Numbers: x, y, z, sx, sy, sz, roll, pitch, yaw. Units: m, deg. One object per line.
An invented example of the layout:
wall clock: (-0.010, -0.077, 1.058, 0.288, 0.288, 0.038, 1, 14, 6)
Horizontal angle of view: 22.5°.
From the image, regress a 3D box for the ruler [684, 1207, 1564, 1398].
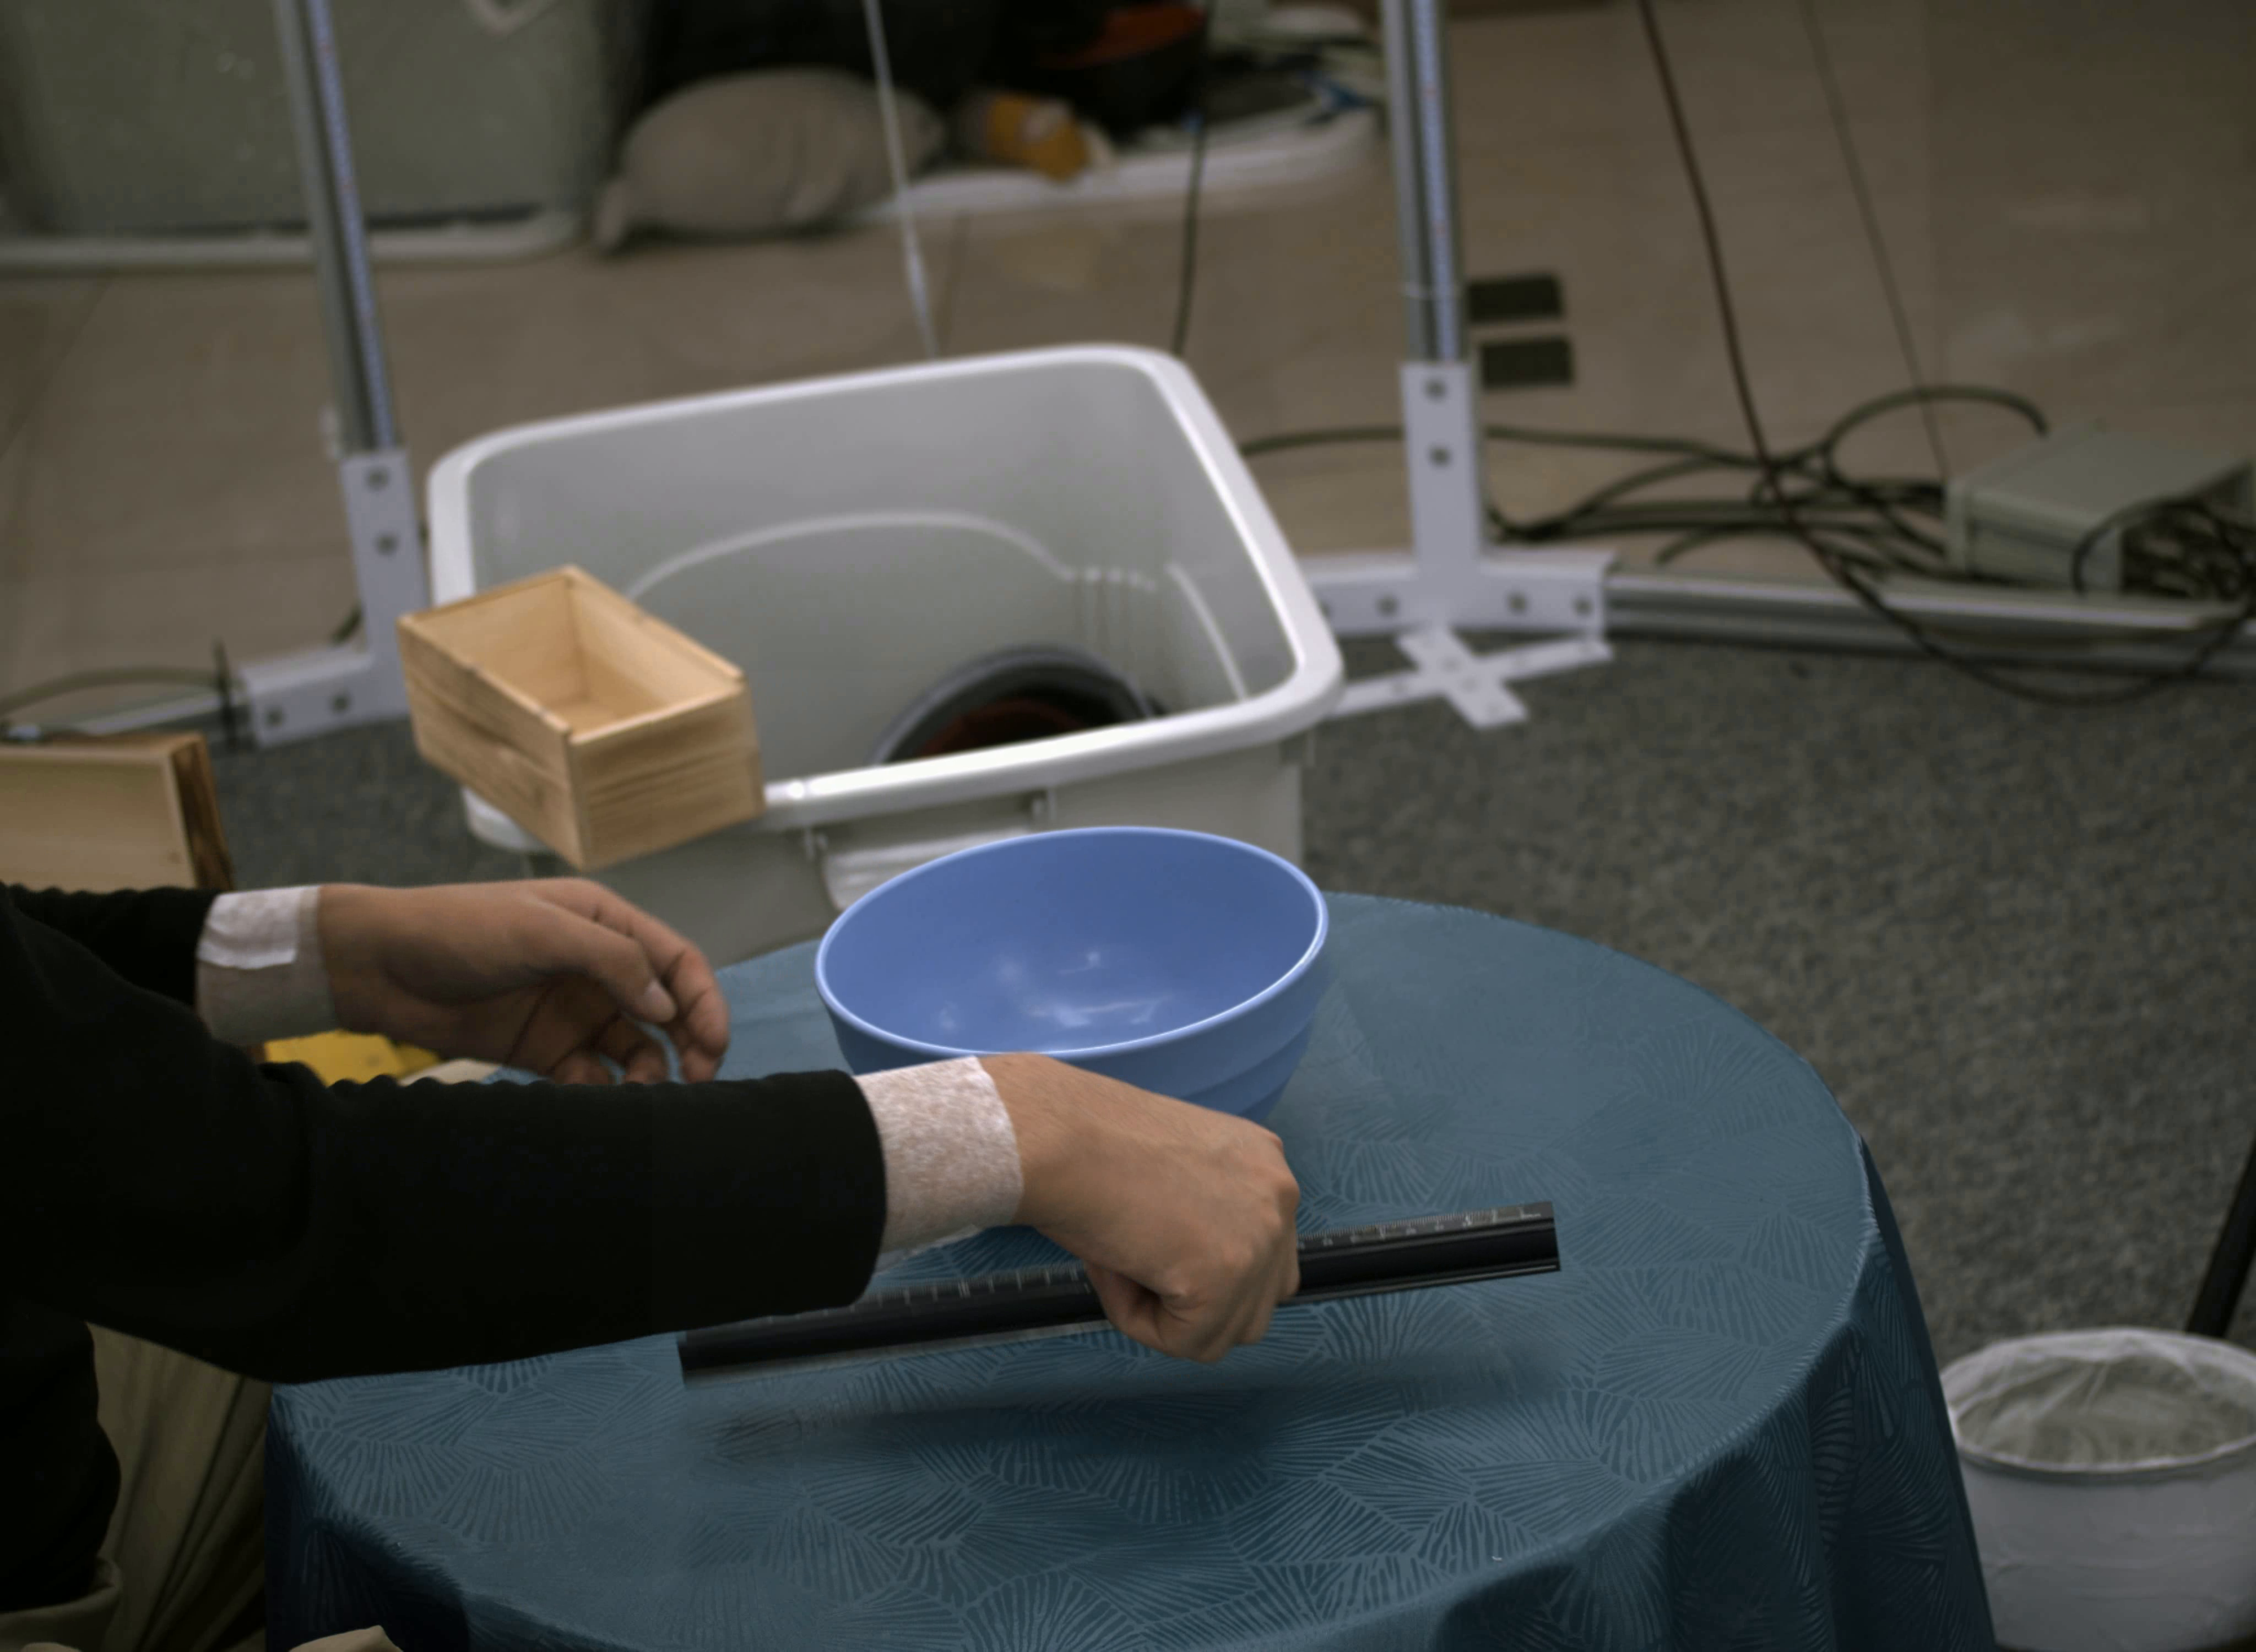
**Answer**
ruler: (-0.003, 0.162, 2.001, 0.312, 0.017, 0.038, -9, 31, 3)

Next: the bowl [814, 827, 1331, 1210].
bowl: (-0.017, 0.084, 2.156, 0.196, 0.097, 0.193, -5, 25, 2)
